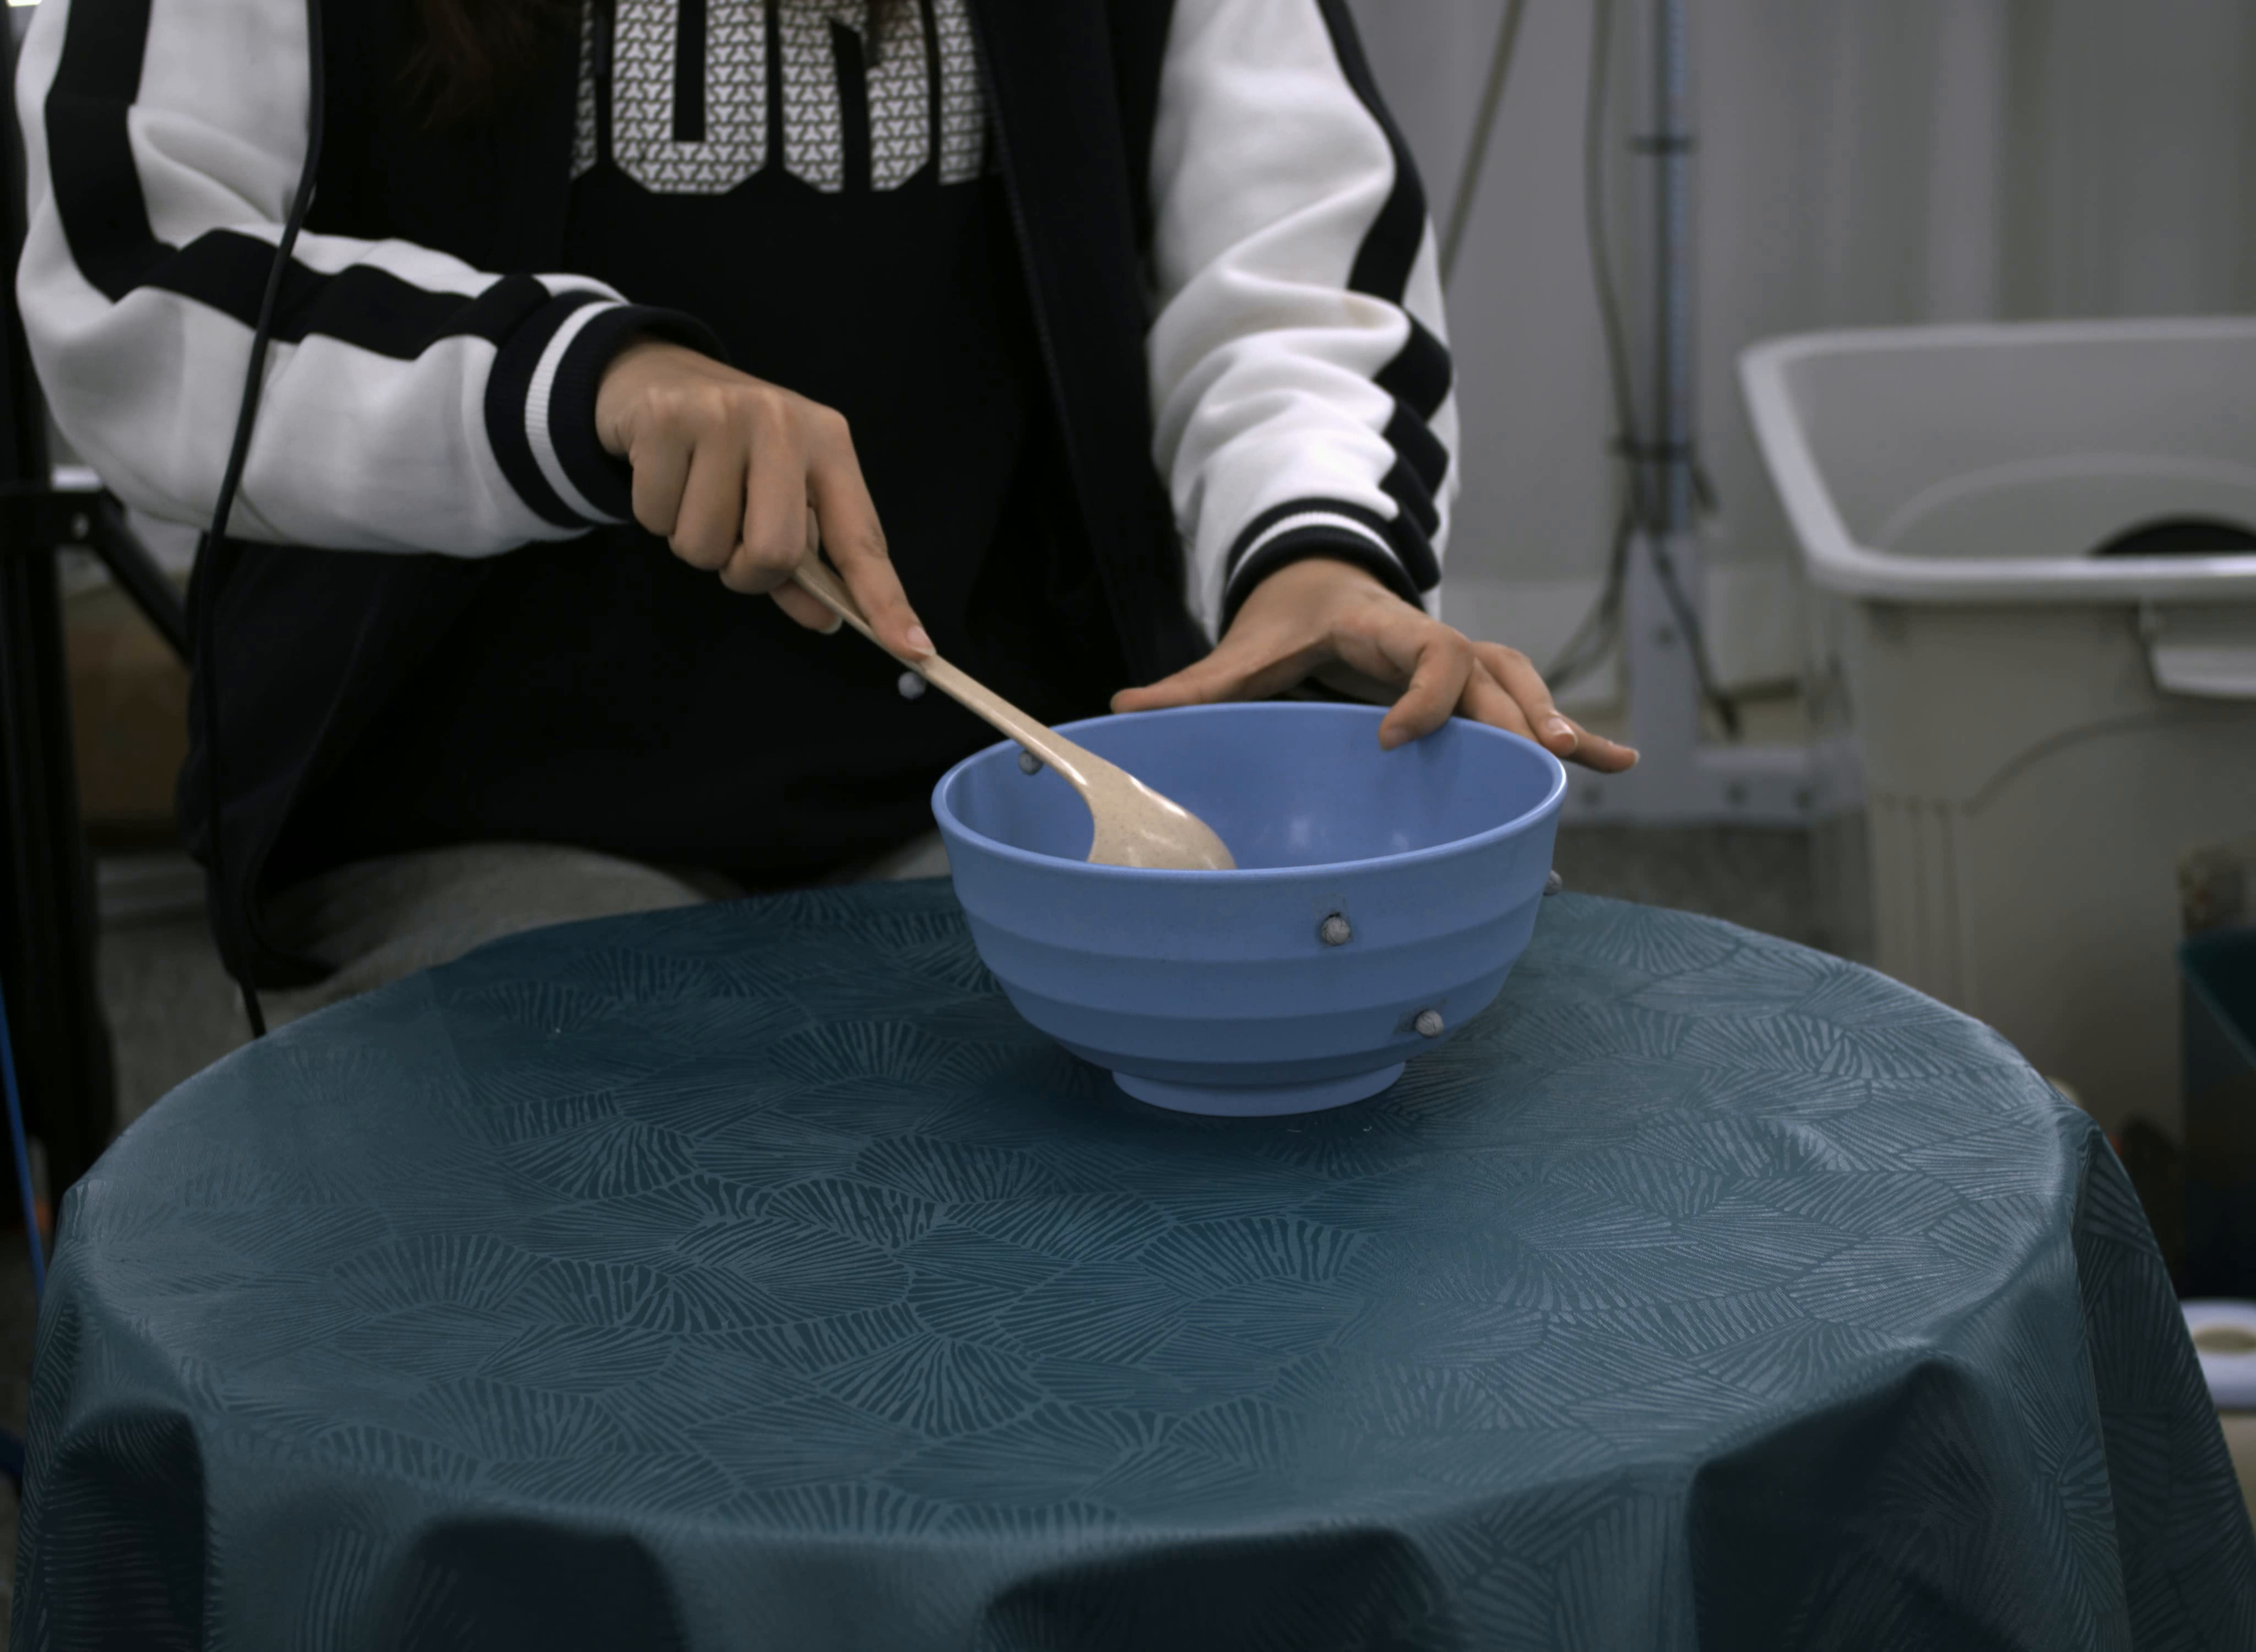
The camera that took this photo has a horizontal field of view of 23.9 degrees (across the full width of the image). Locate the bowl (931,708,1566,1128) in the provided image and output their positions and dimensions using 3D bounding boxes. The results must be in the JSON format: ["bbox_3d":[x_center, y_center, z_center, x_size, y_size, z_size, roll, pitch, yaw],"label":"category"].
[{"bbox_3d":[0.039,0.034,1.649,0.195,0.095,0.197,-4,16,0],"label":"bowl"}]

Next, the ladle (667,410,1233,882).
[{"bbox_3d":[-0.068,-0.030,1.696,0.258,0.073,0.070,40,38,23],"label":"ladle"}]
